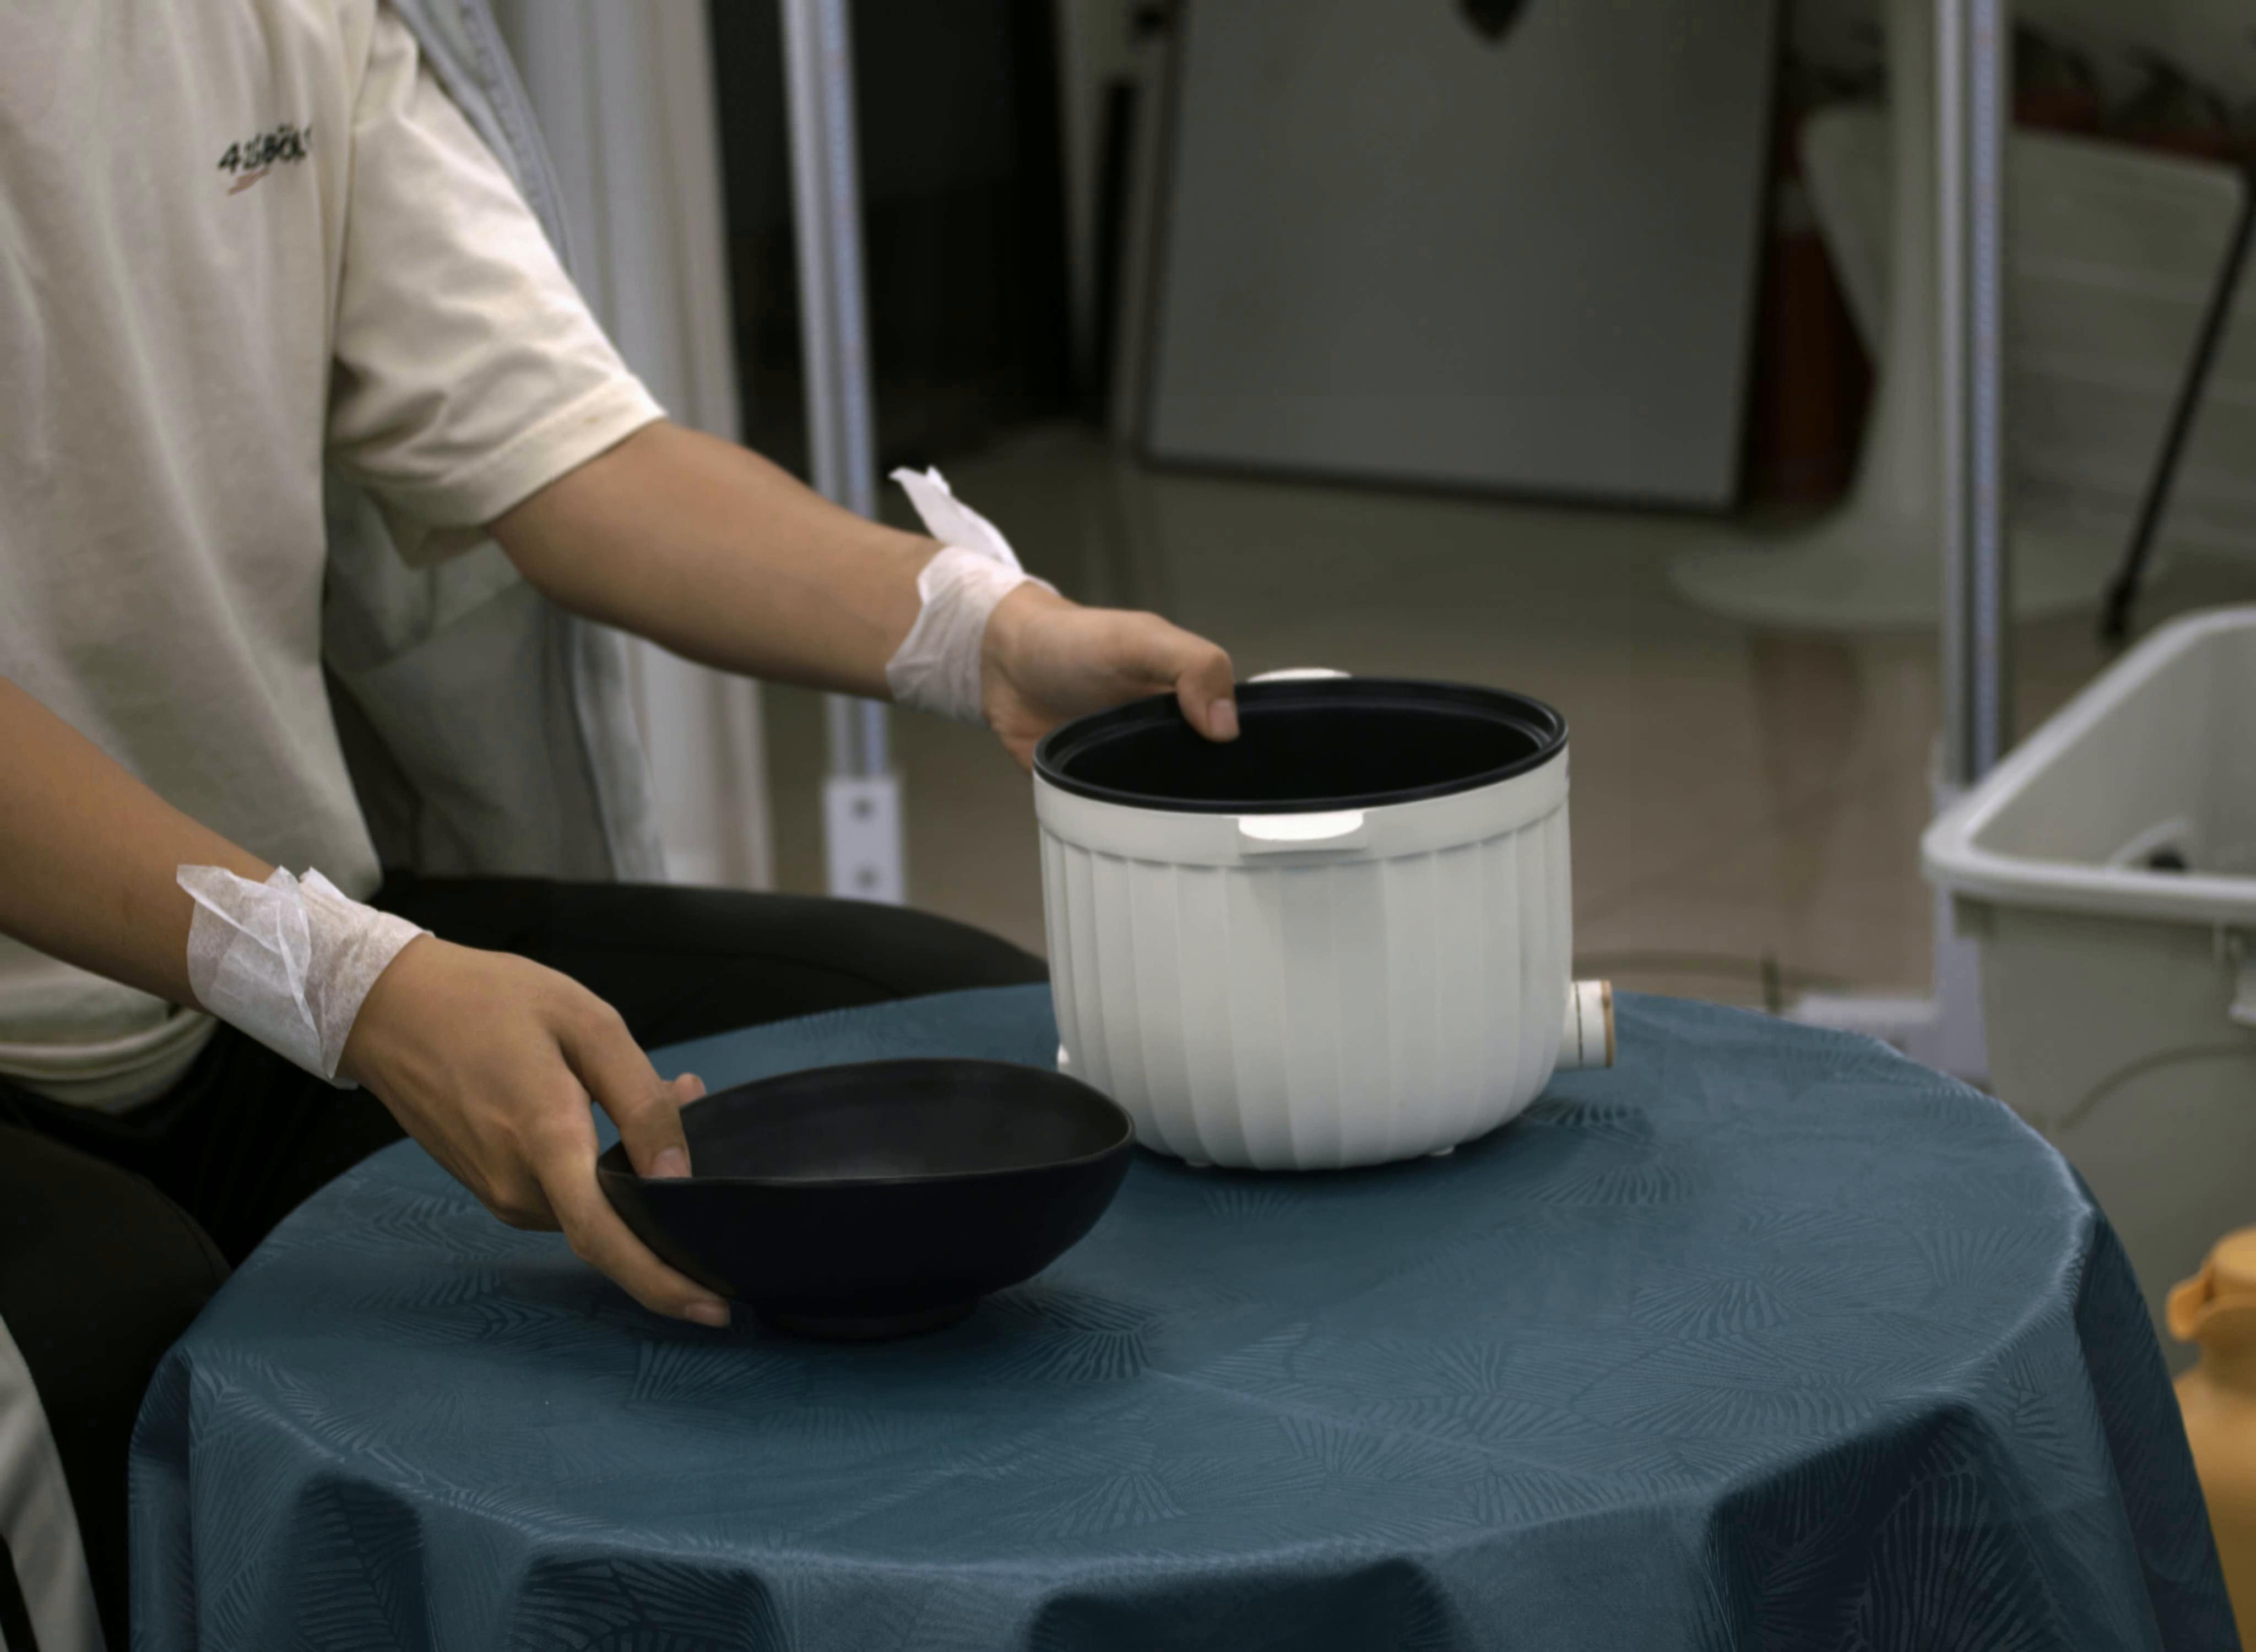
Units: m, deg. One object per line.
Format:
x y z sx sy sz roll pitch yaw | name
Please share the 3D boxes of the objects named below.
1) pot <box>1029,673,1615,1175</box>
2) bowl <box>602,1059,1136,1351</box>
0.066 0.034 1.819 0.188 0.144 0.240 -7 14 3 | pot
-0.079 0.121 1.663 0.169 0.067 0.137 -2 12 10 | bowl
